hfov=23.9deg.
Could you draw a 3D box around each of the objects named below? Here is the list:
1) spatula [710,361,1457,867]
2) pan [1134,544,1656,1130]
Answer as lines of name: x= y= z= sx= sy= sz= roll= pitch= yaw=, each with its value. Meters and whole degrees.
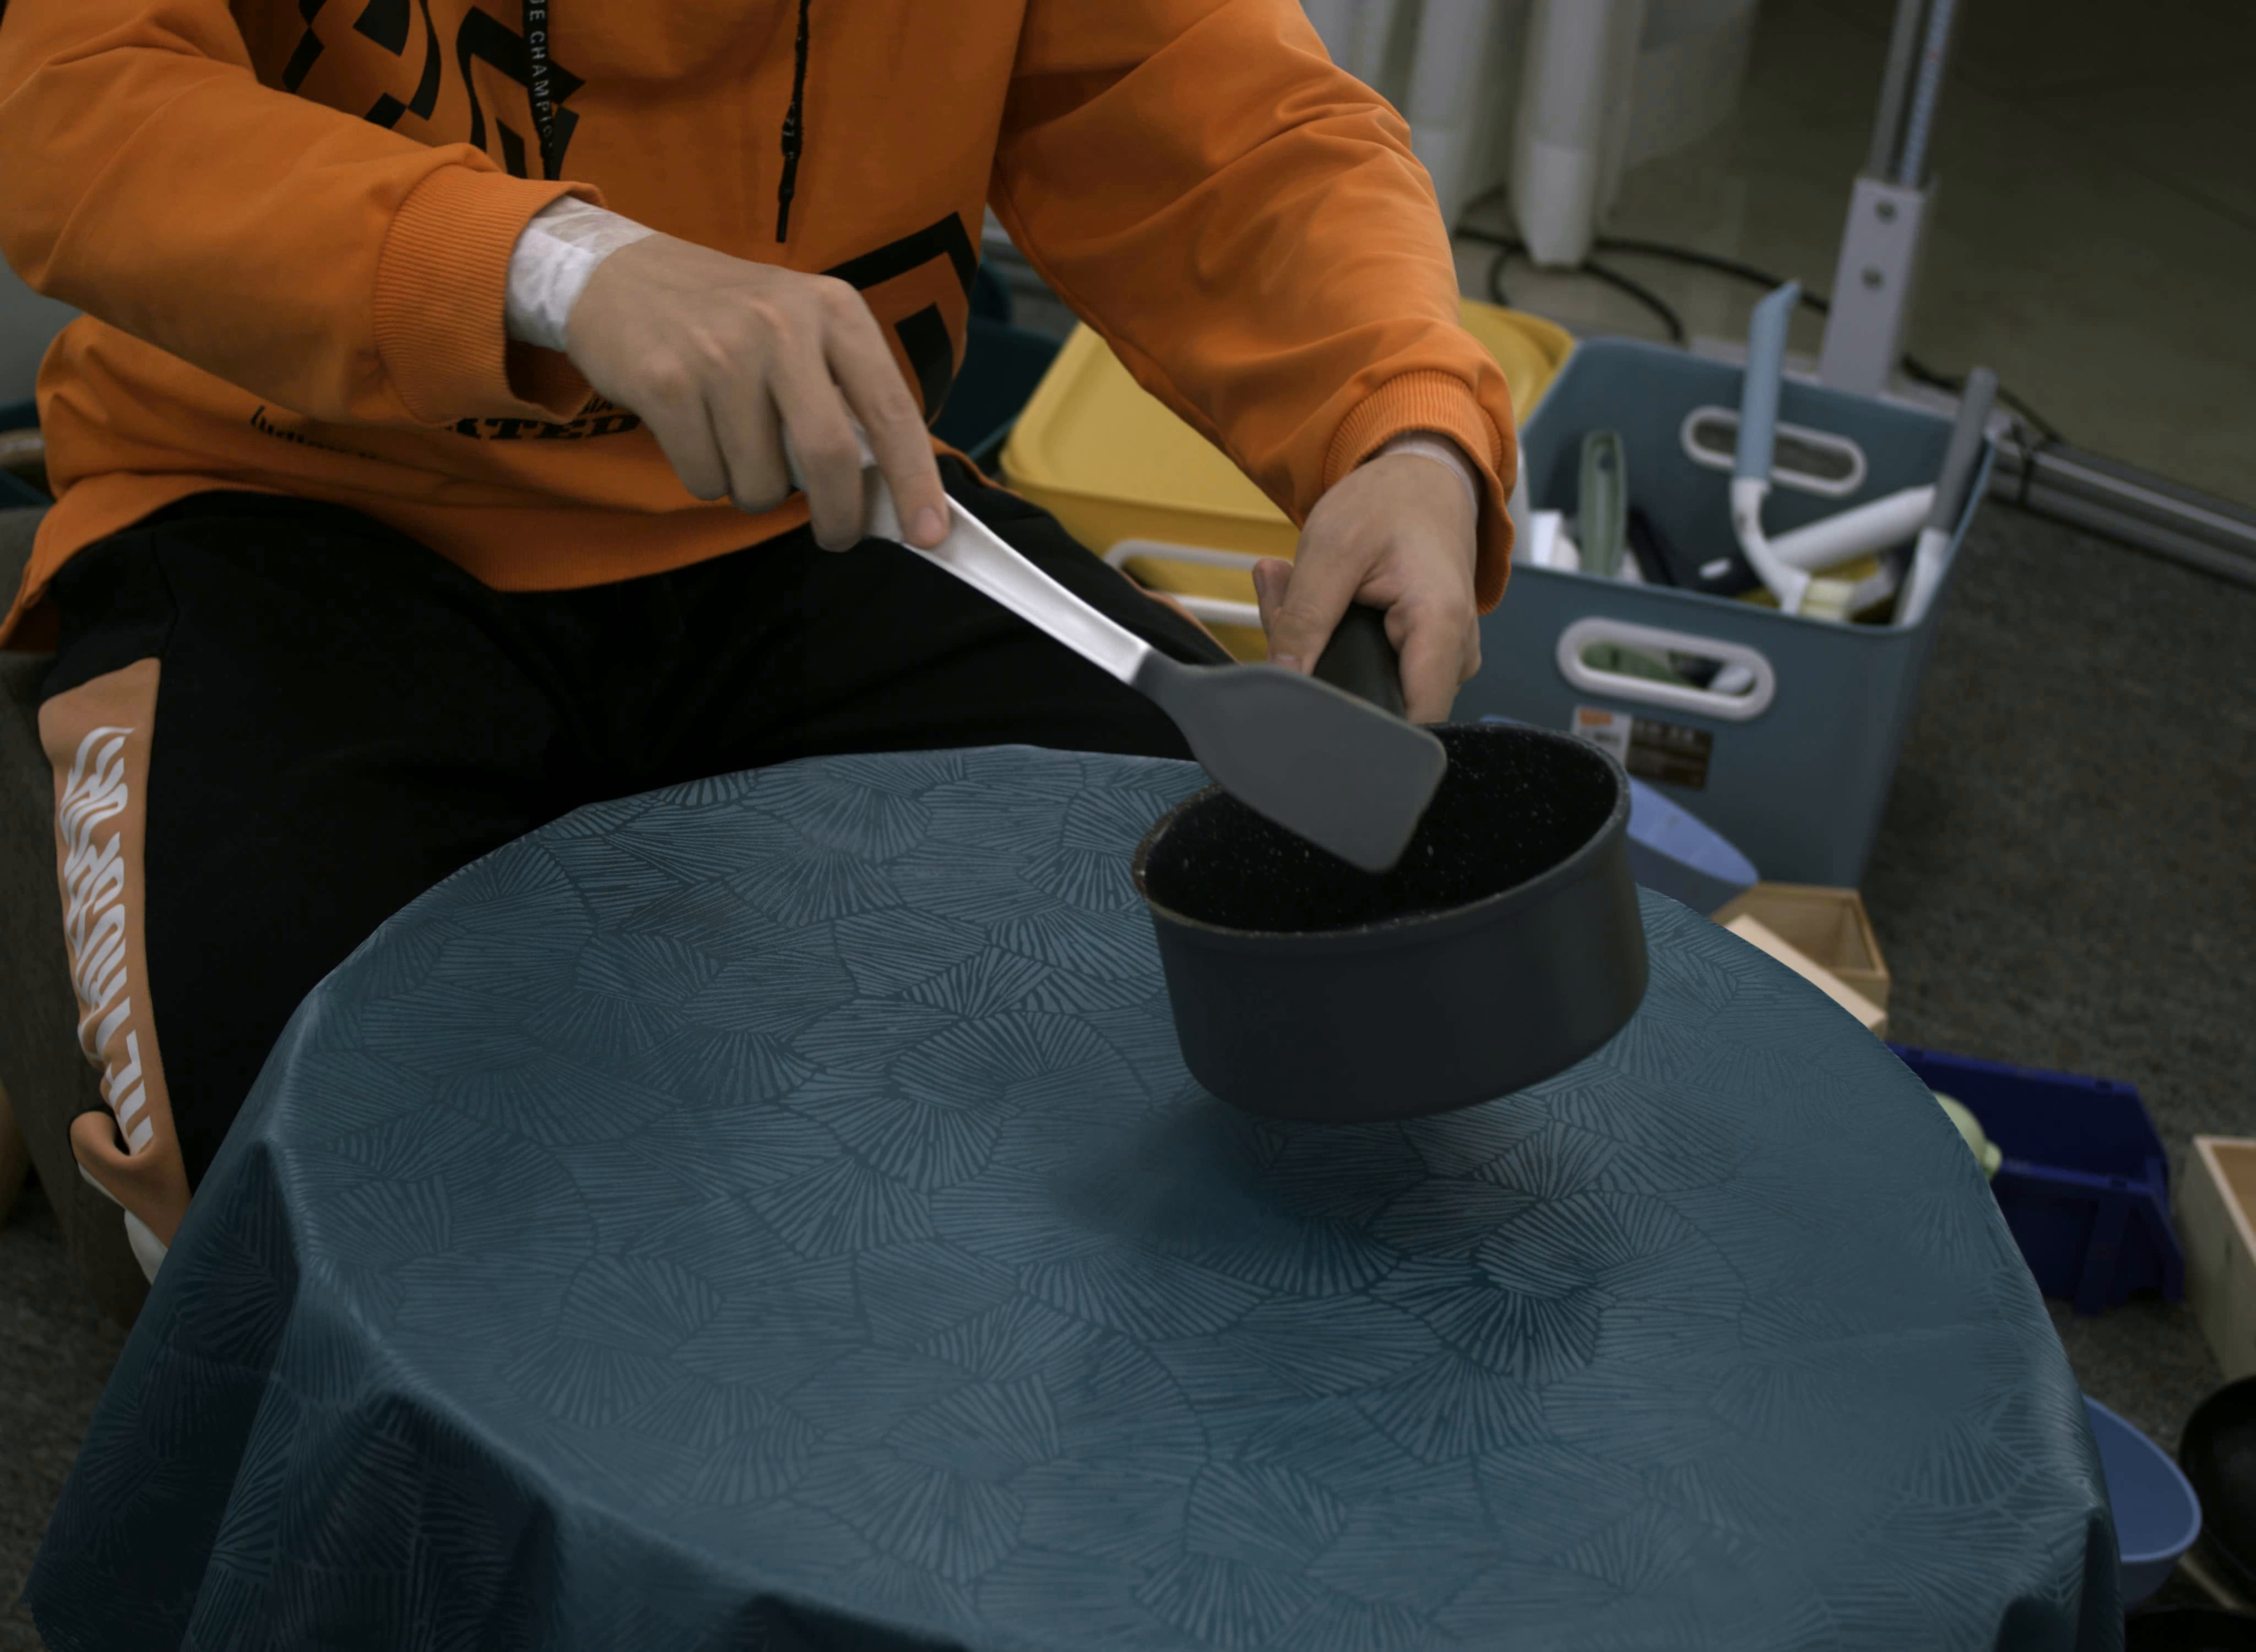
spatula: x=-0.020 y=-0.077 z=1.800 sx=0.289 sy=0.059 sz=0.032 roll=31 pitch=8 yaw=19
pan: x=0.093 y=0.000 z=1.877 sx=0.172 sy=0.086 sz=0.330 roll=-9 pitch=24 yaw=5
